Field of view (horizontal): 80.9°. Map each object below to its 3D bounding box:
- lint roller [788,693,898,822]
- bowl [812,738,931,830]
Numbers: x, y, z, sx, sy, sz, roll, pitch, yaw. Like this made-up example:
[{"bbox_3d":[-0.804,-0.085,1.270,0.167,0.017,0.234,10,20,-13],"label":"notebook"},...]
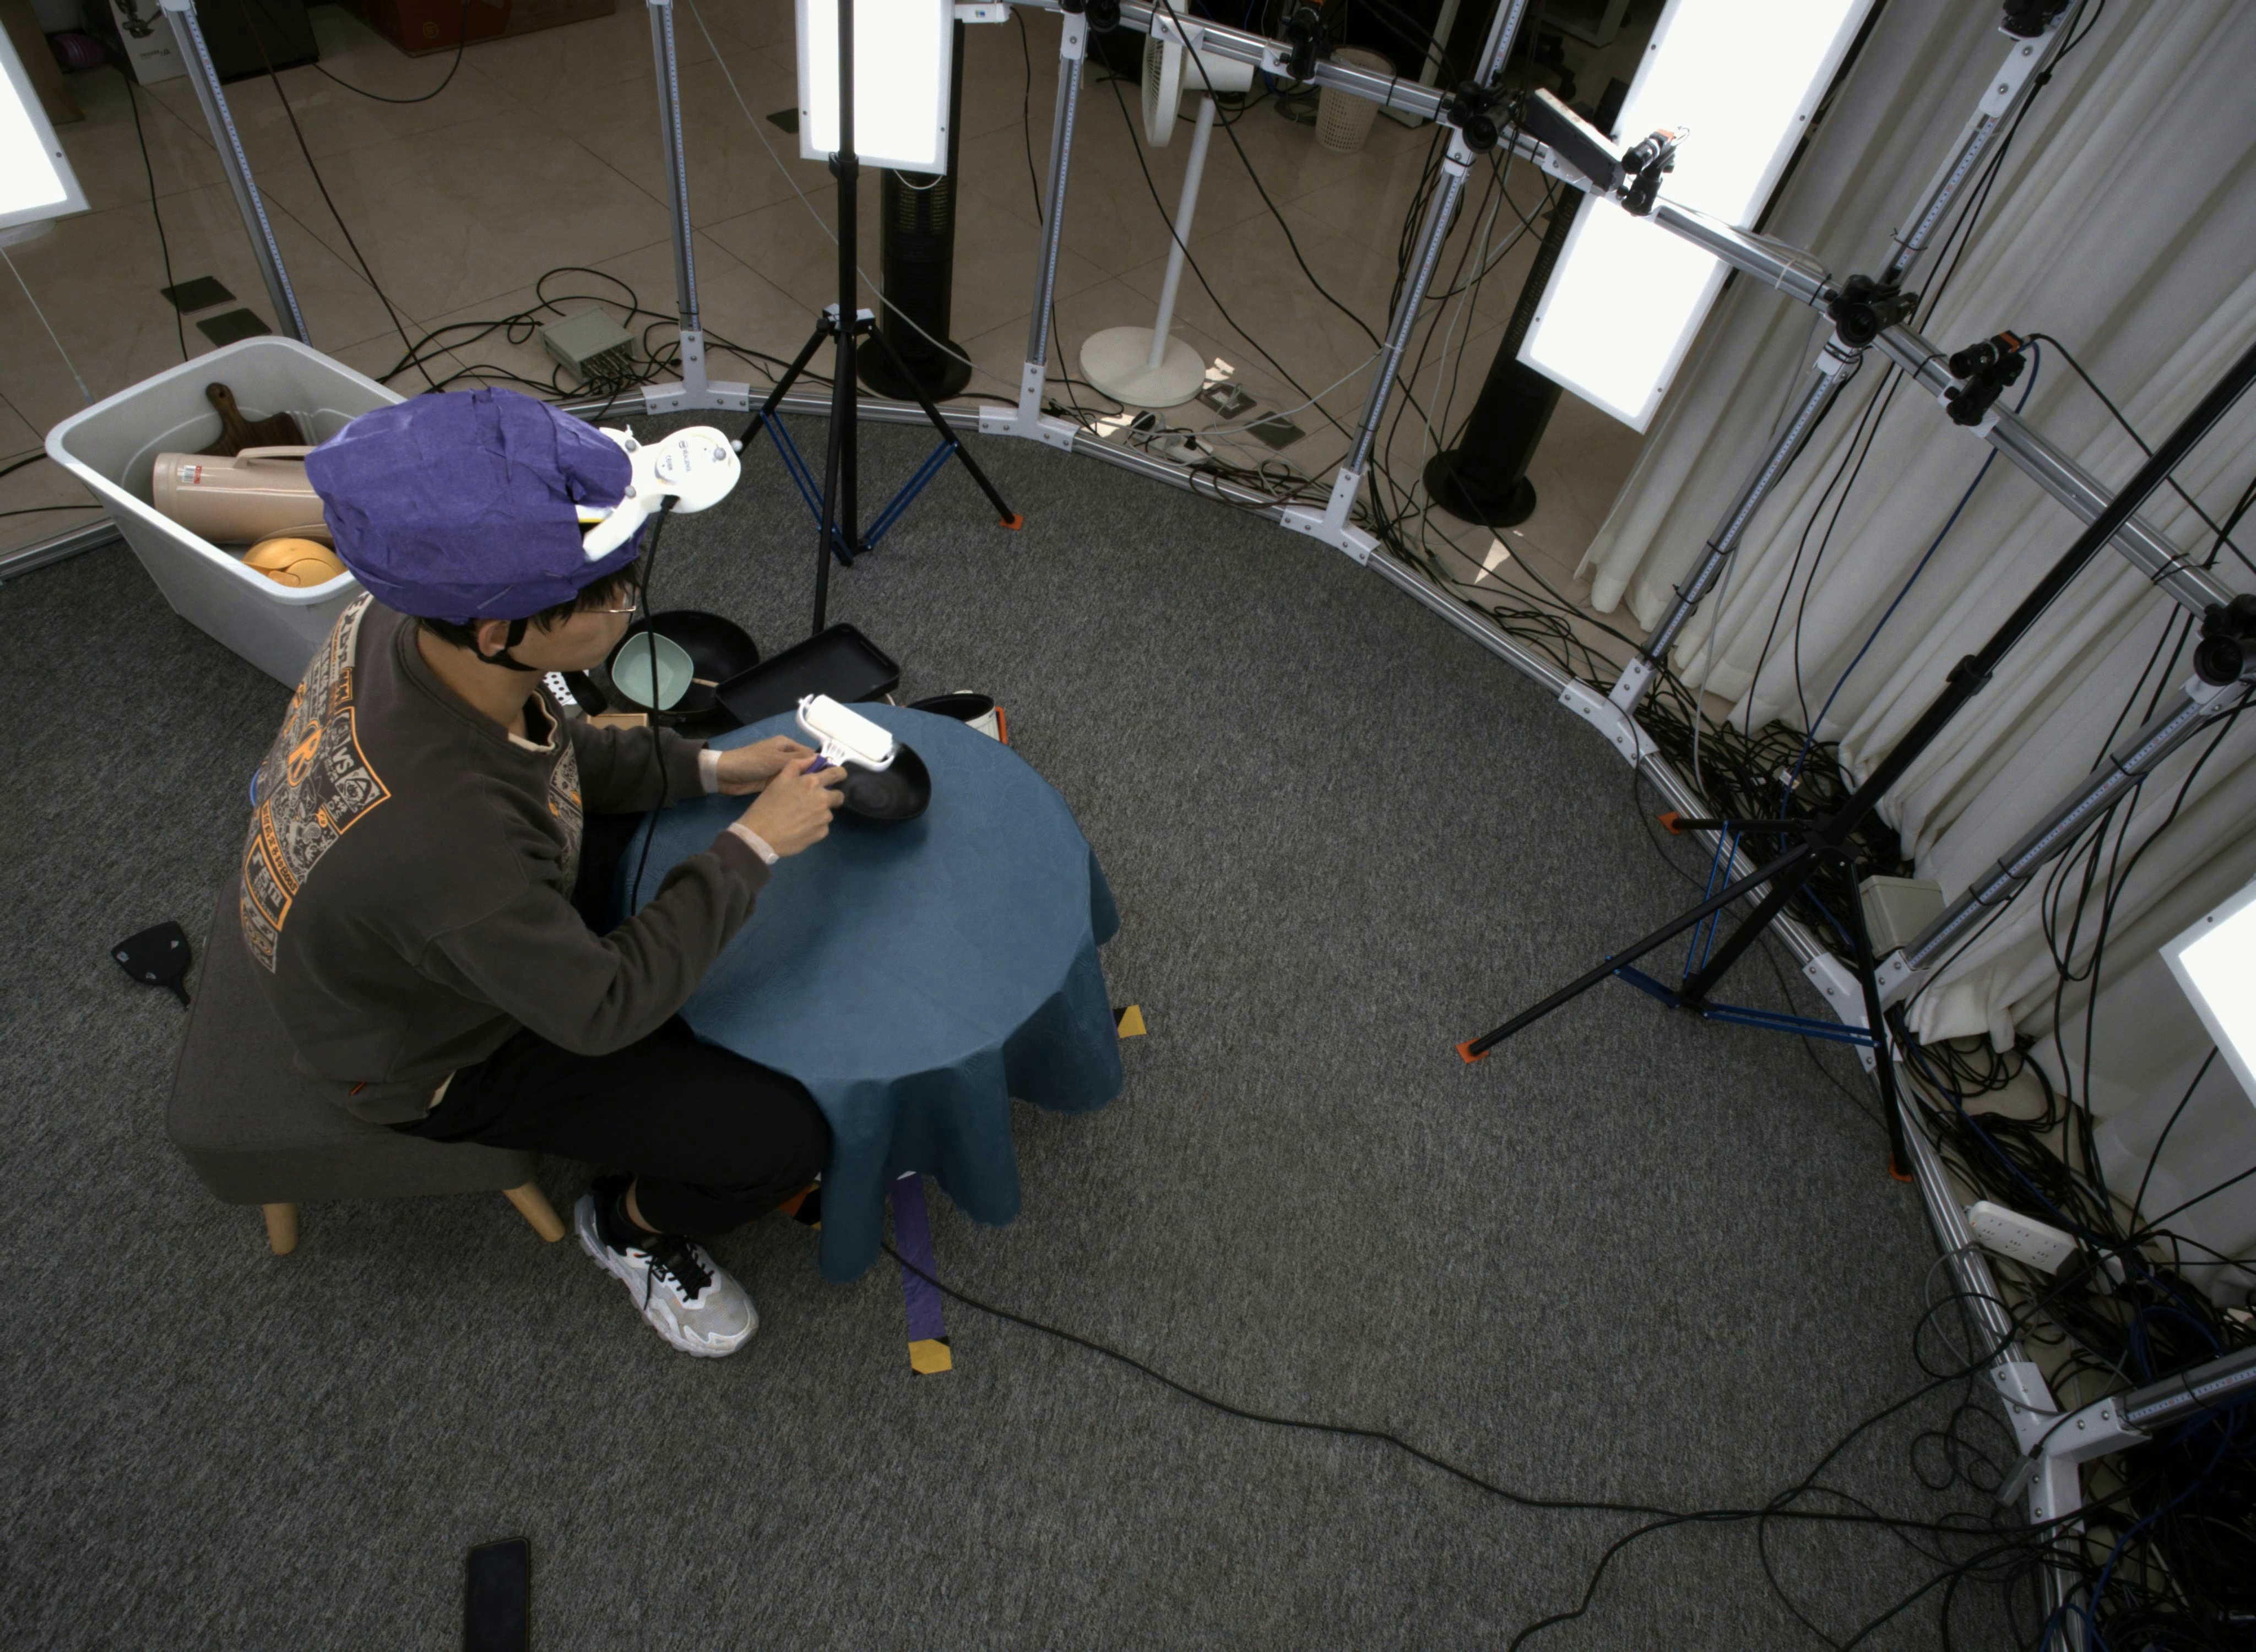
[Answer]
[{"bbox_3d":[-0.368,-0.079,1.580,0.134,0.050,0.178,33,42,-11],"label":"lint roller"},{"bbox_3d":[-0.345,-0.051,1.755,0.168,0.068,0.136,27,54,5],"label":"bowl"}]
